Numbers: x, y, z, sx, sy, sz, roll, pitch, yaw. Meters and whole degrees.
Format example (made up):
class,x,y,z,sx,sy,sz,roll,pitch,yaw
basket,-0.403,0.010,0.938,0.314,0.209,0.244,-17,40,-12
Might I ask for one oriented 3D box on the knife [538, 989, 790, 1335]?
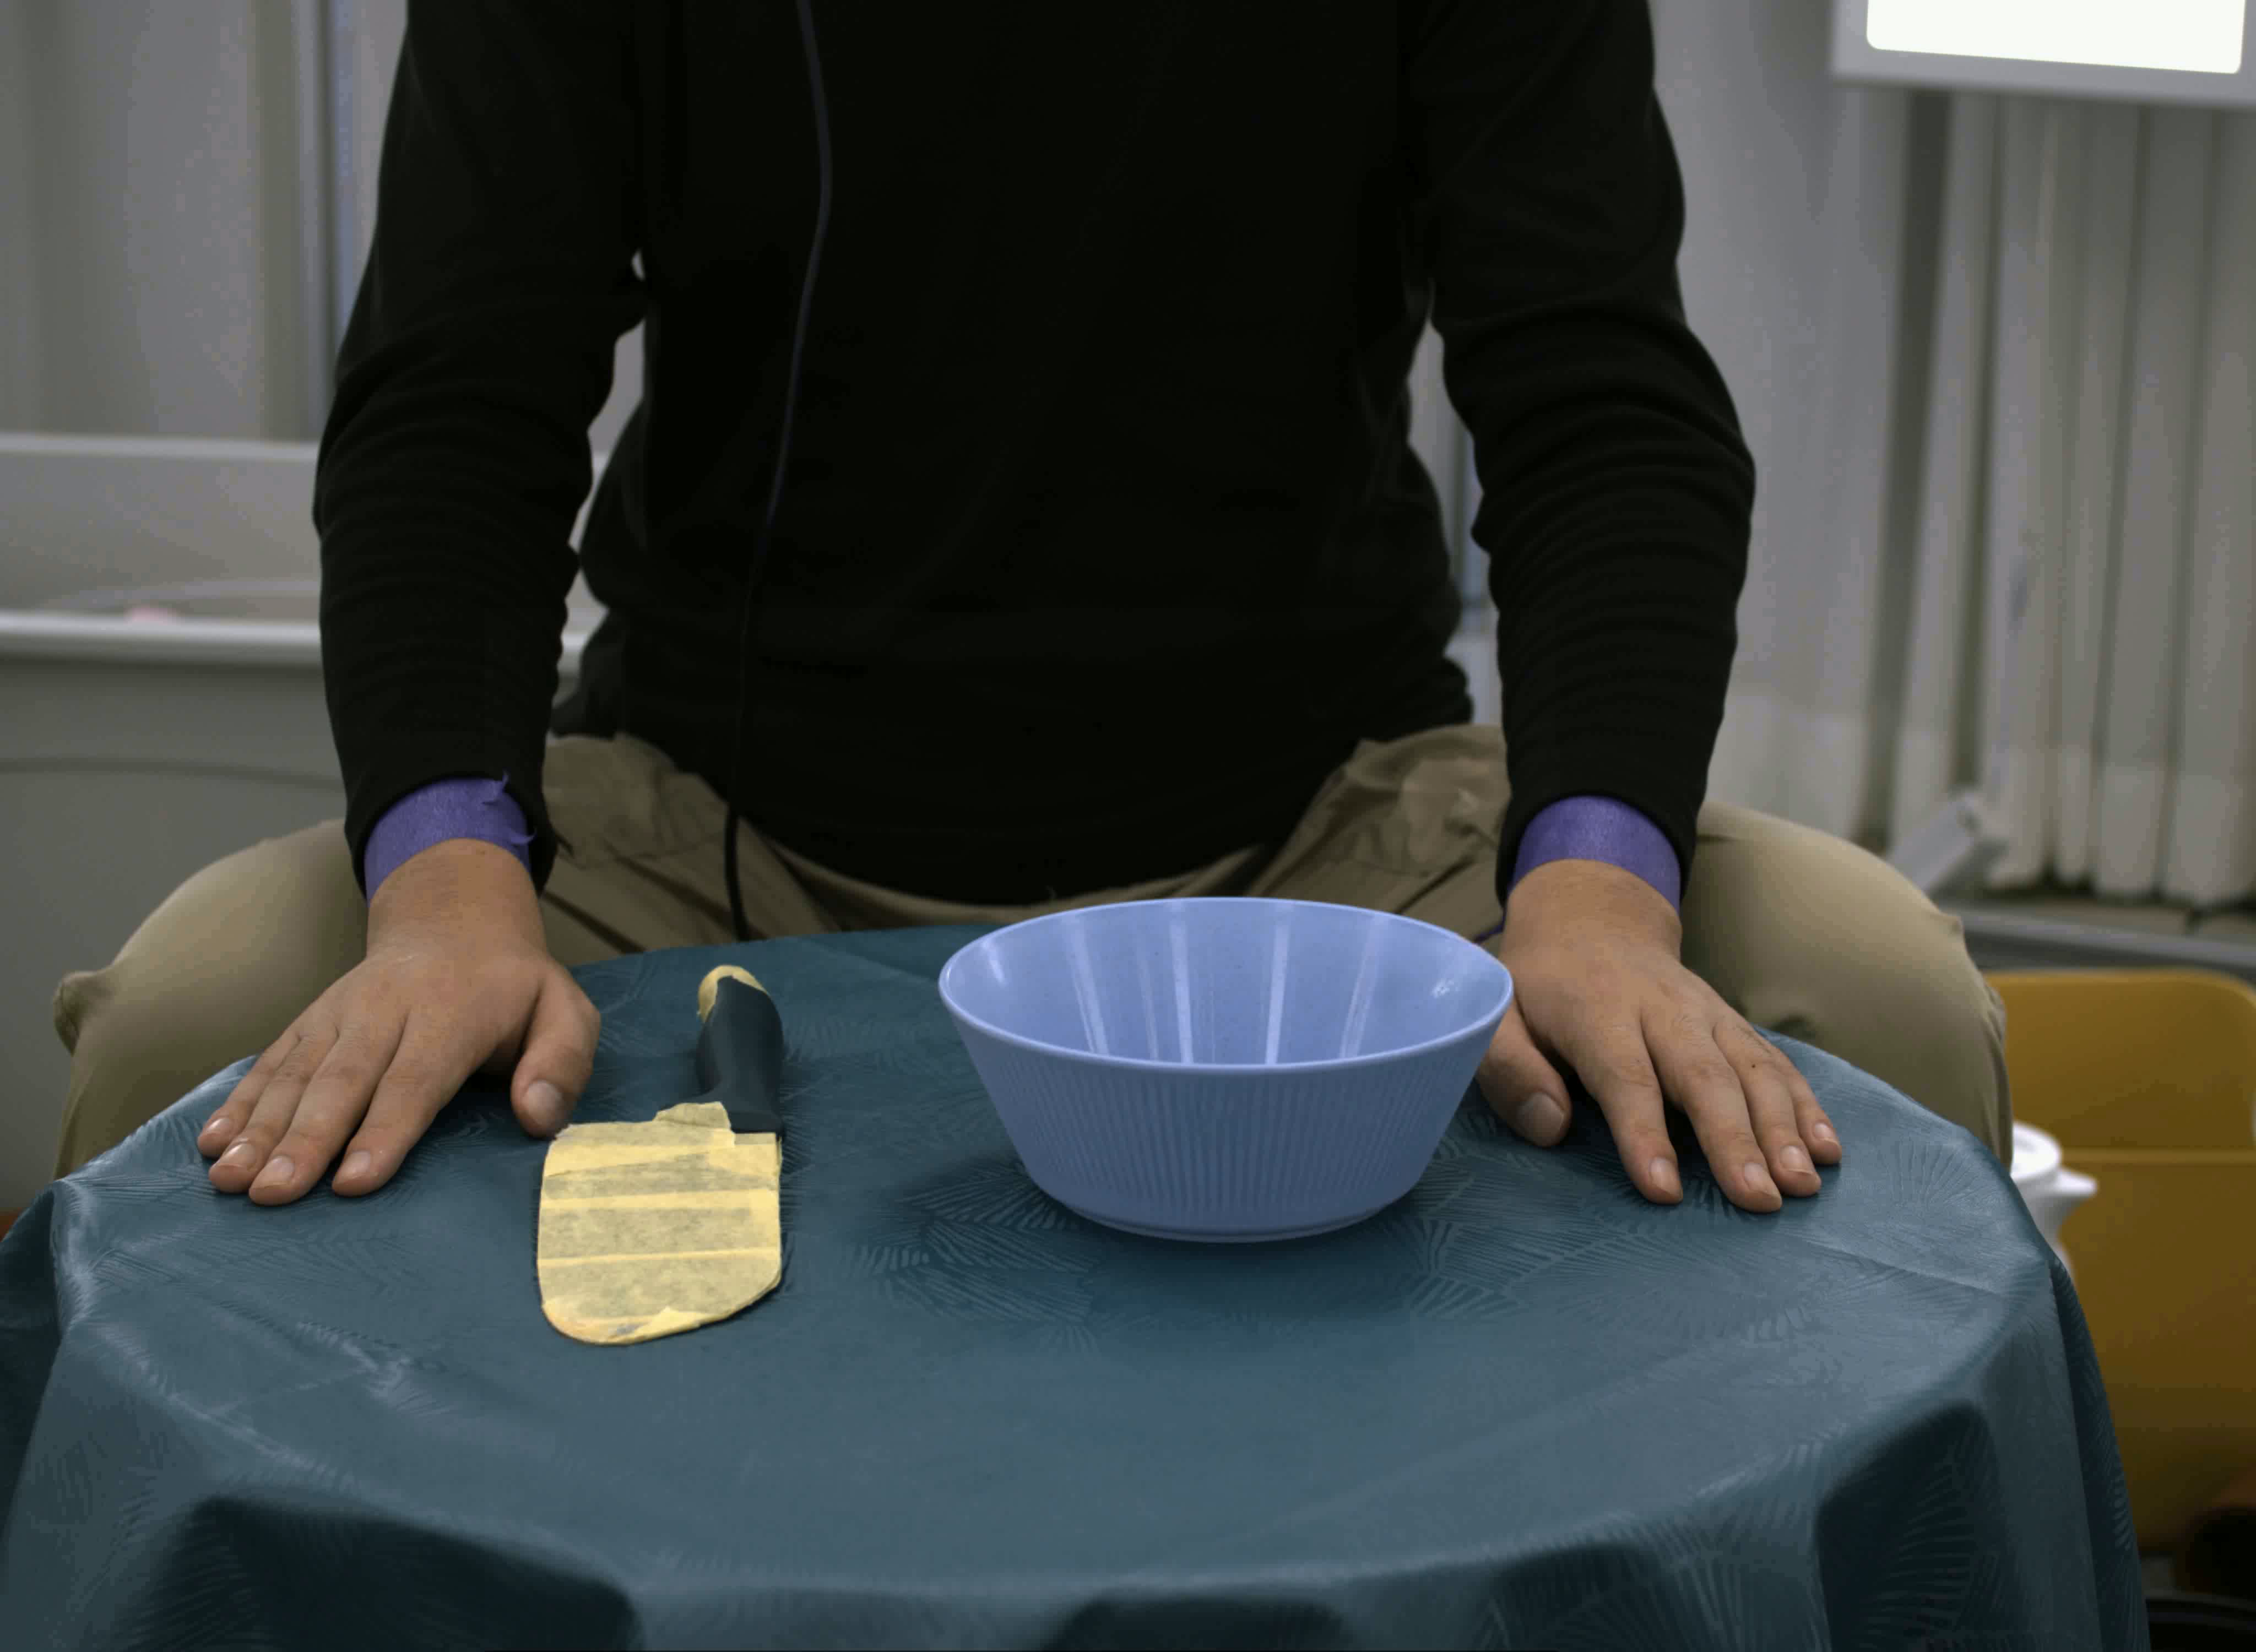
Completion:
class,x,y,z,sx,sy,sz,roll,pitch,yaw
knife,-0.141,0.103,1.626,0.081,0.027,0.288,1,16,-1

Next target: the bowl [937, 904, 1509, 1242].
class,x,y,z,sx,sy,sz,roll,pitch,yaw
bowl,0.029,0.078,1.619,0.175,0.071,0.175,0,16,1
